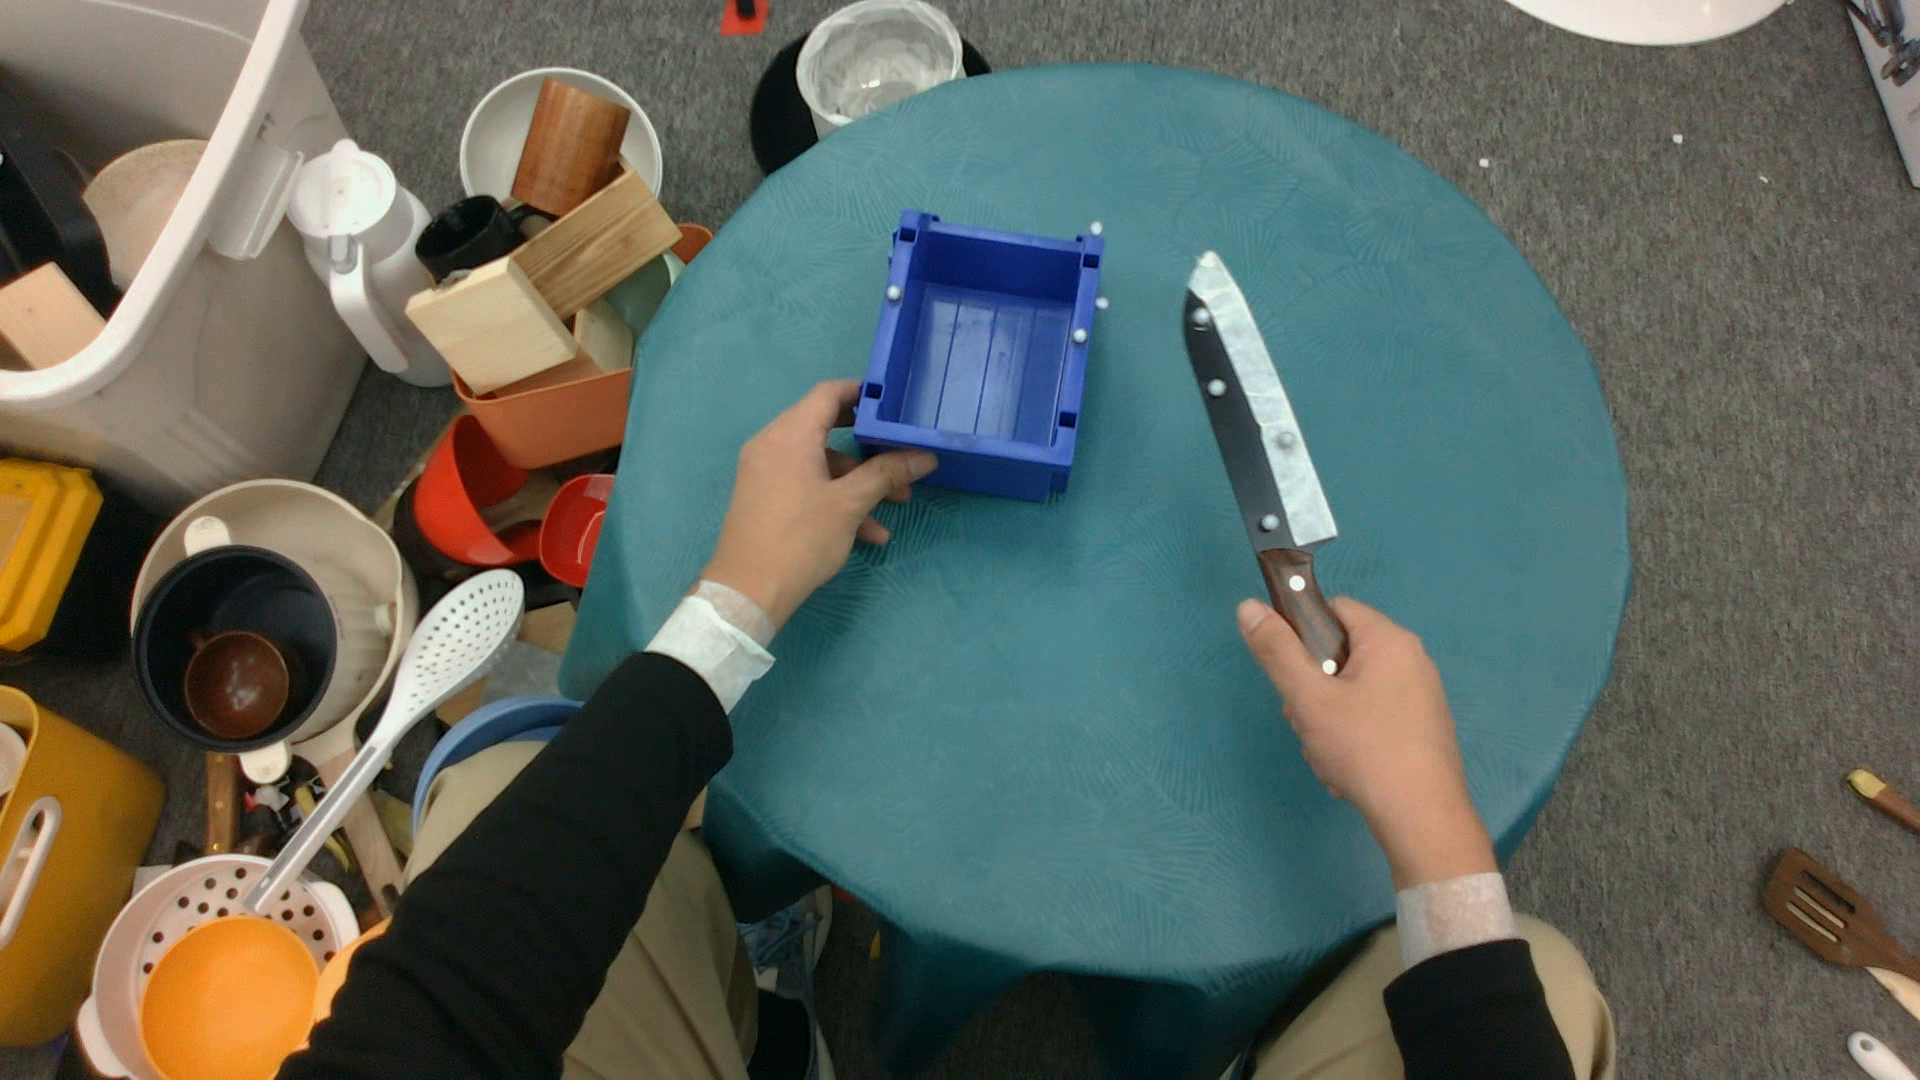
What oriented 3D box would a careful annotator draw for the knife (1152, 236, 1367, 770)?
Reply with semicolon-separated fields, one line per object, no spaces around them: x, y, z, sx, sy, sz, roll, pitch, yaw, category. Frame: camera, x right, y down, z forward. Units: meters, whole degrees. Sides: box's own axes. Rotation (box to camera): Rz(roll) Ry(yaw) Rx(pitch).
0.153;-0.025;0.707;0.050;0.020;0.289;-14;80;-10;knife

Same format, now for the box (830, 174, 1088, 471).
0.001;-0.134;0.809;0.124;0.081;0.180;10;70;3;box
